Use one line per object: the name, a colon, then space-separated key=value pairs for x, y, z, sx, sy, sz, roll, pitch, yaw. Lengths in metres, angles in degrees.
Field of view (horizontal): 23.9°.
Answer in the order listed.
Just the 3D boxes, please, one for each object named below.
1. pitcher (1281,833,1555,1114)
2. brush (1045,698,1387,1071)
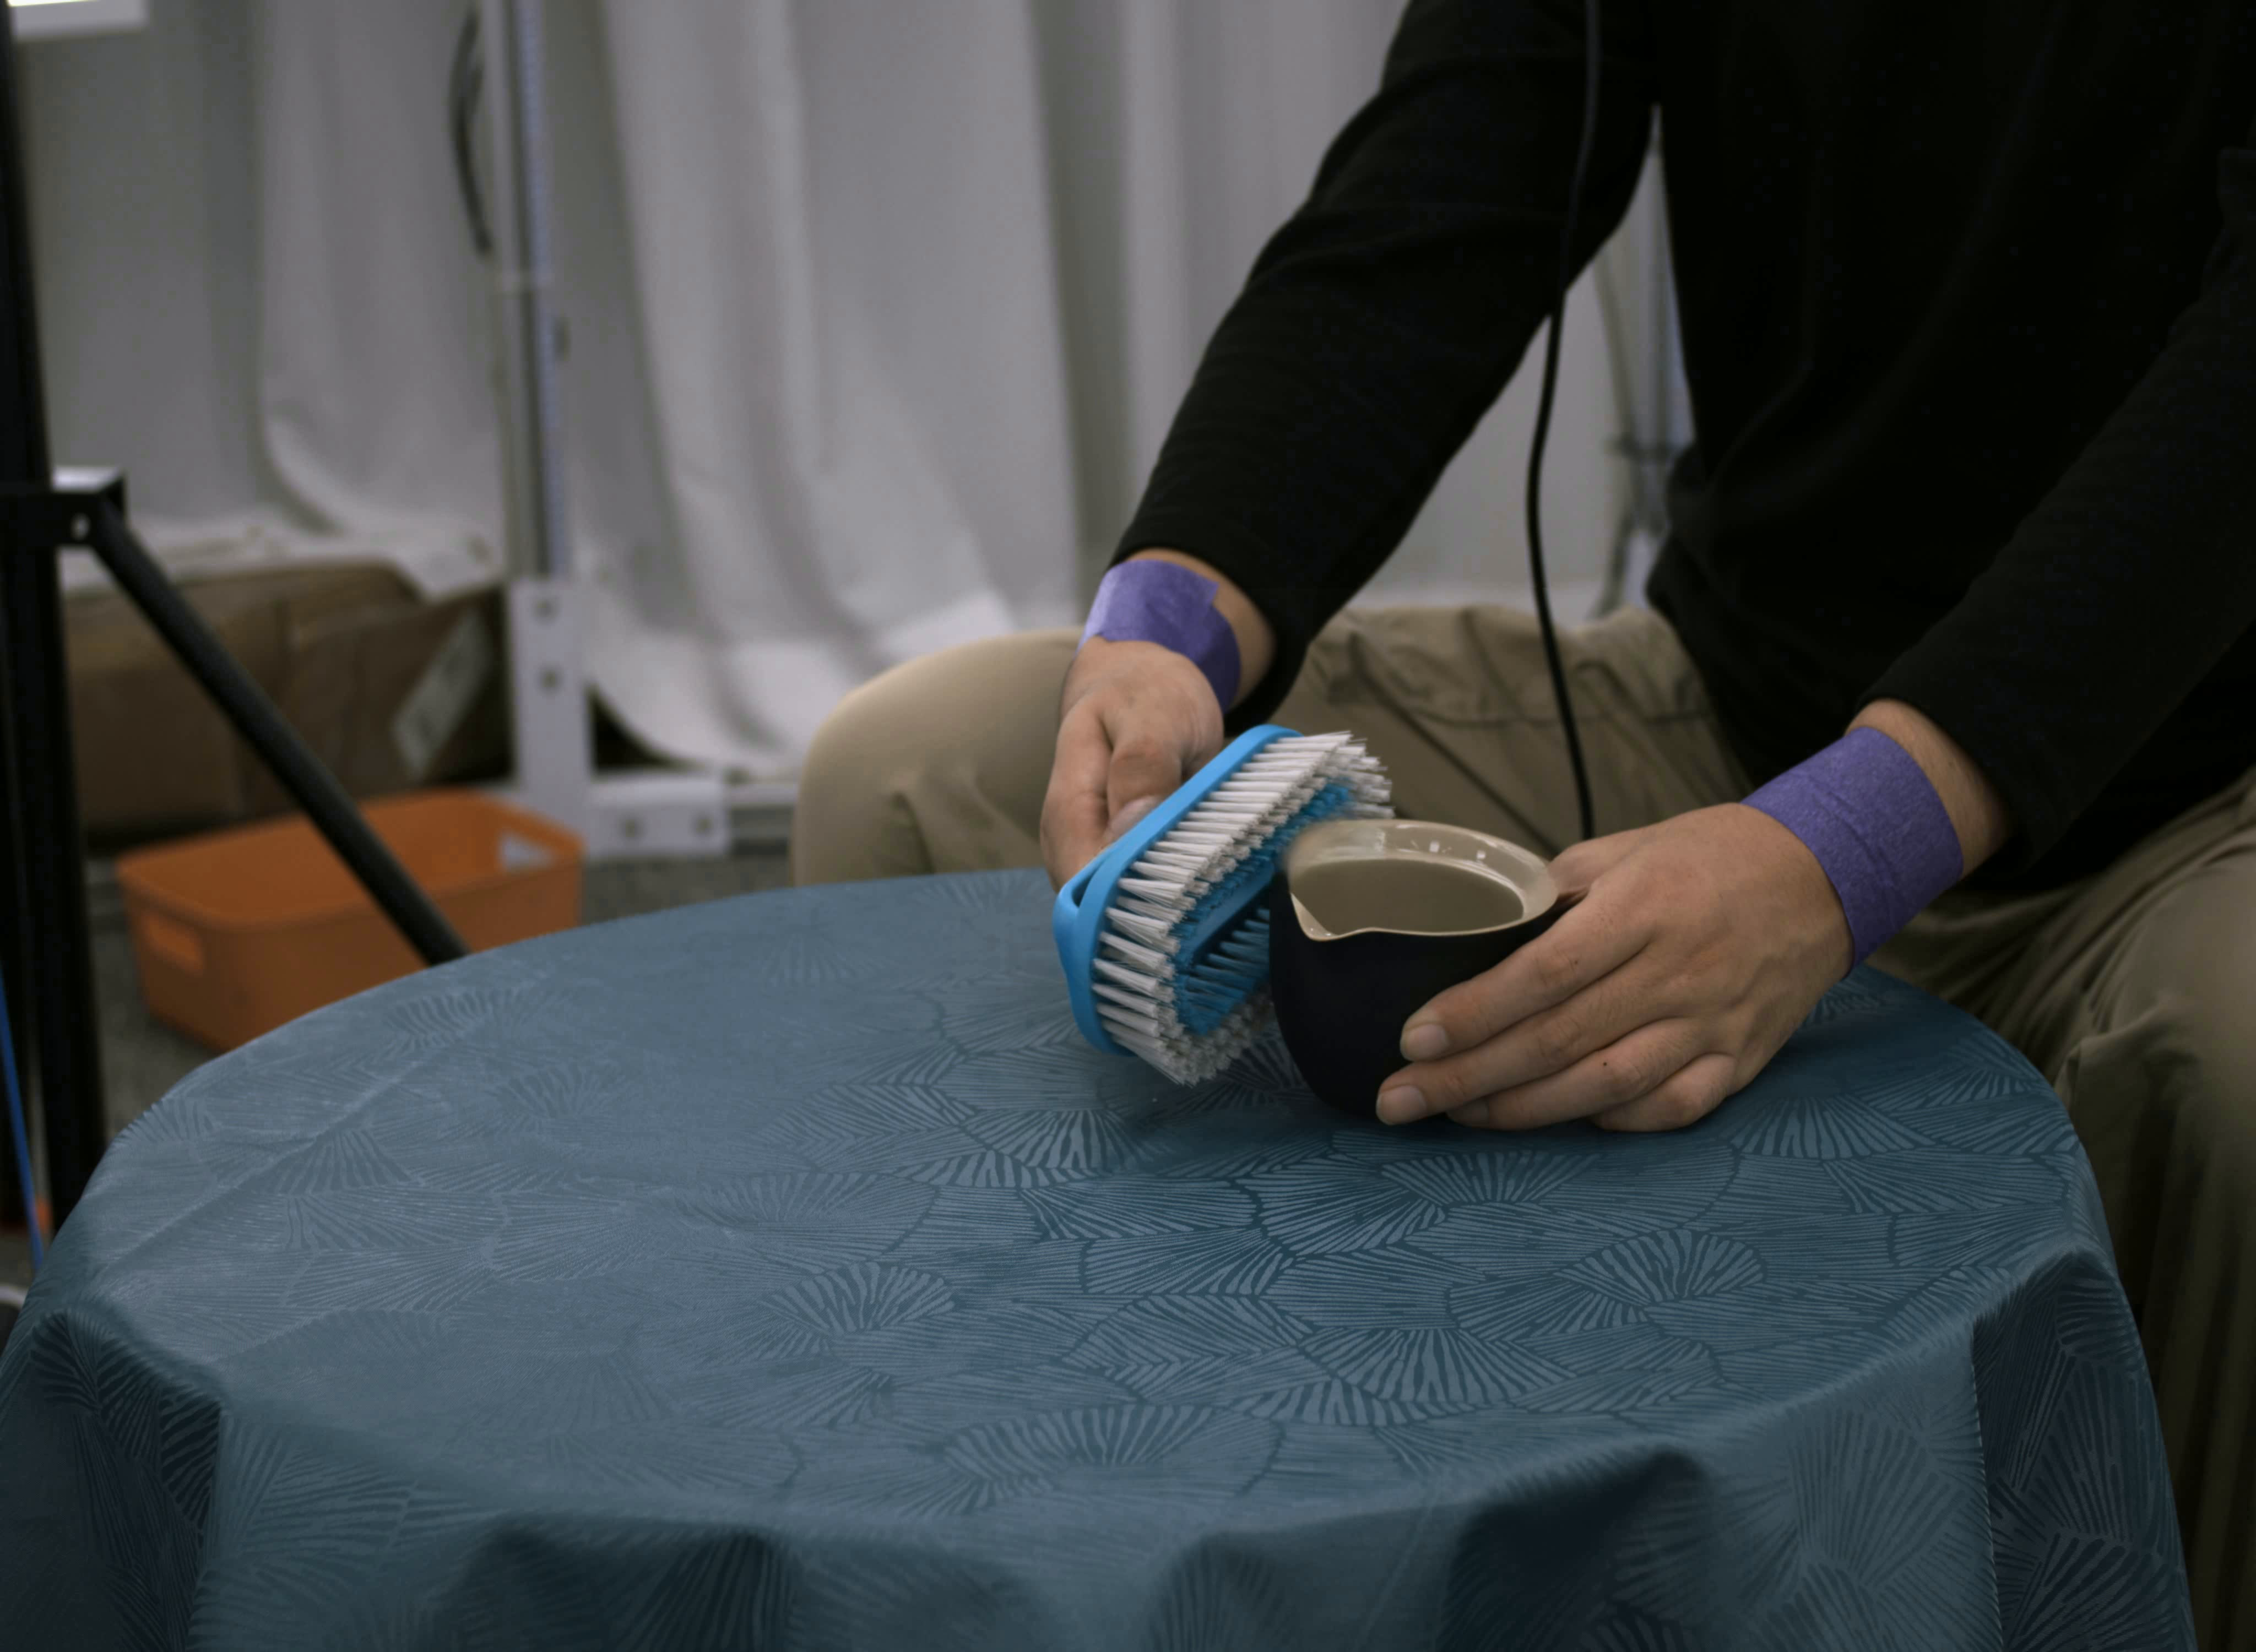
pitcher: x=0.084 y=0.047 z=1.615 sx=0.085 sy=0.071 sz=0.094 roll=20 pitch=28 yaw=36
brush: x=0.019 y=0.015 z=1.645 sx=0.065 sy=0.084 sz=0.140 roll=11 pitch=36 yaw=35
